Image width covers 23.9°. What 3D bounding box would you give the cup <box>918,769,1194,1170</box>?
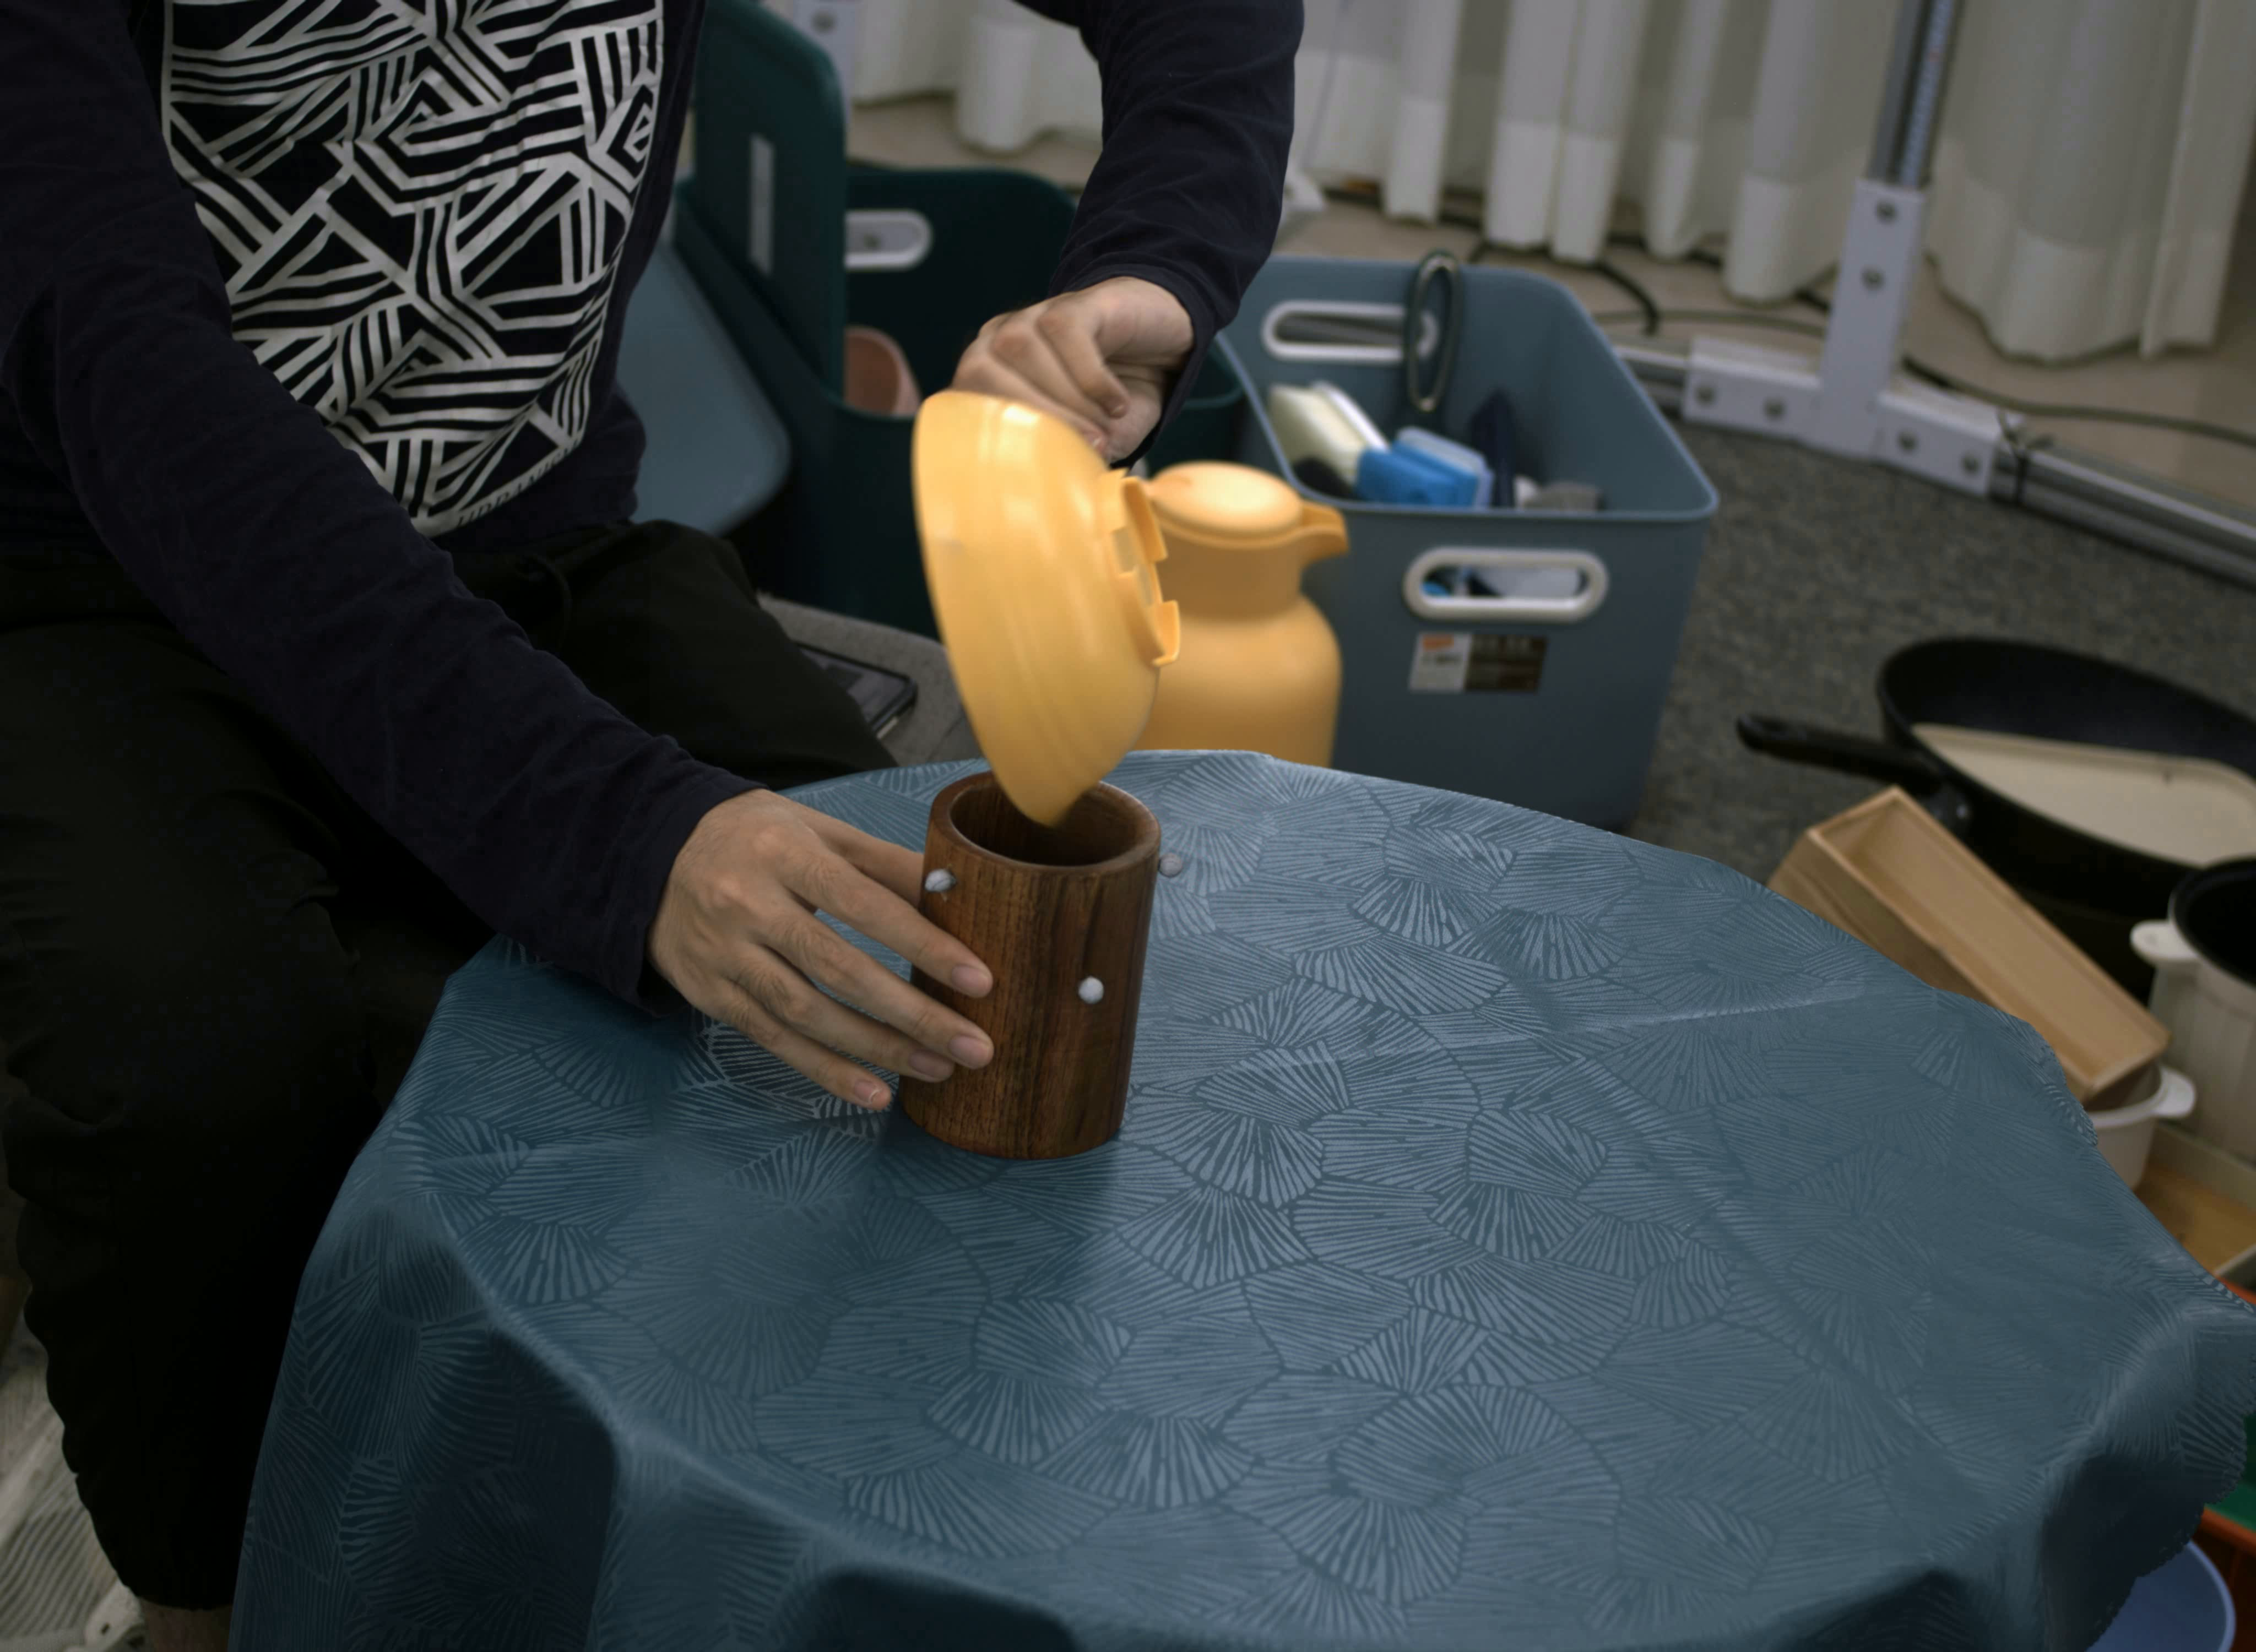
[{"bbox_3d":[-0.026,0.047,1.821,0.087,0.118,0.088,8,24,-4],"label":"cup"}]

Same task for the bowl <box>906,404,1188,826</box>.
[{"bbox_3d":[-0.019,-0.077,1.761,0.060,0.144,0.146,-16,22,16],"label":"bowl"}]
